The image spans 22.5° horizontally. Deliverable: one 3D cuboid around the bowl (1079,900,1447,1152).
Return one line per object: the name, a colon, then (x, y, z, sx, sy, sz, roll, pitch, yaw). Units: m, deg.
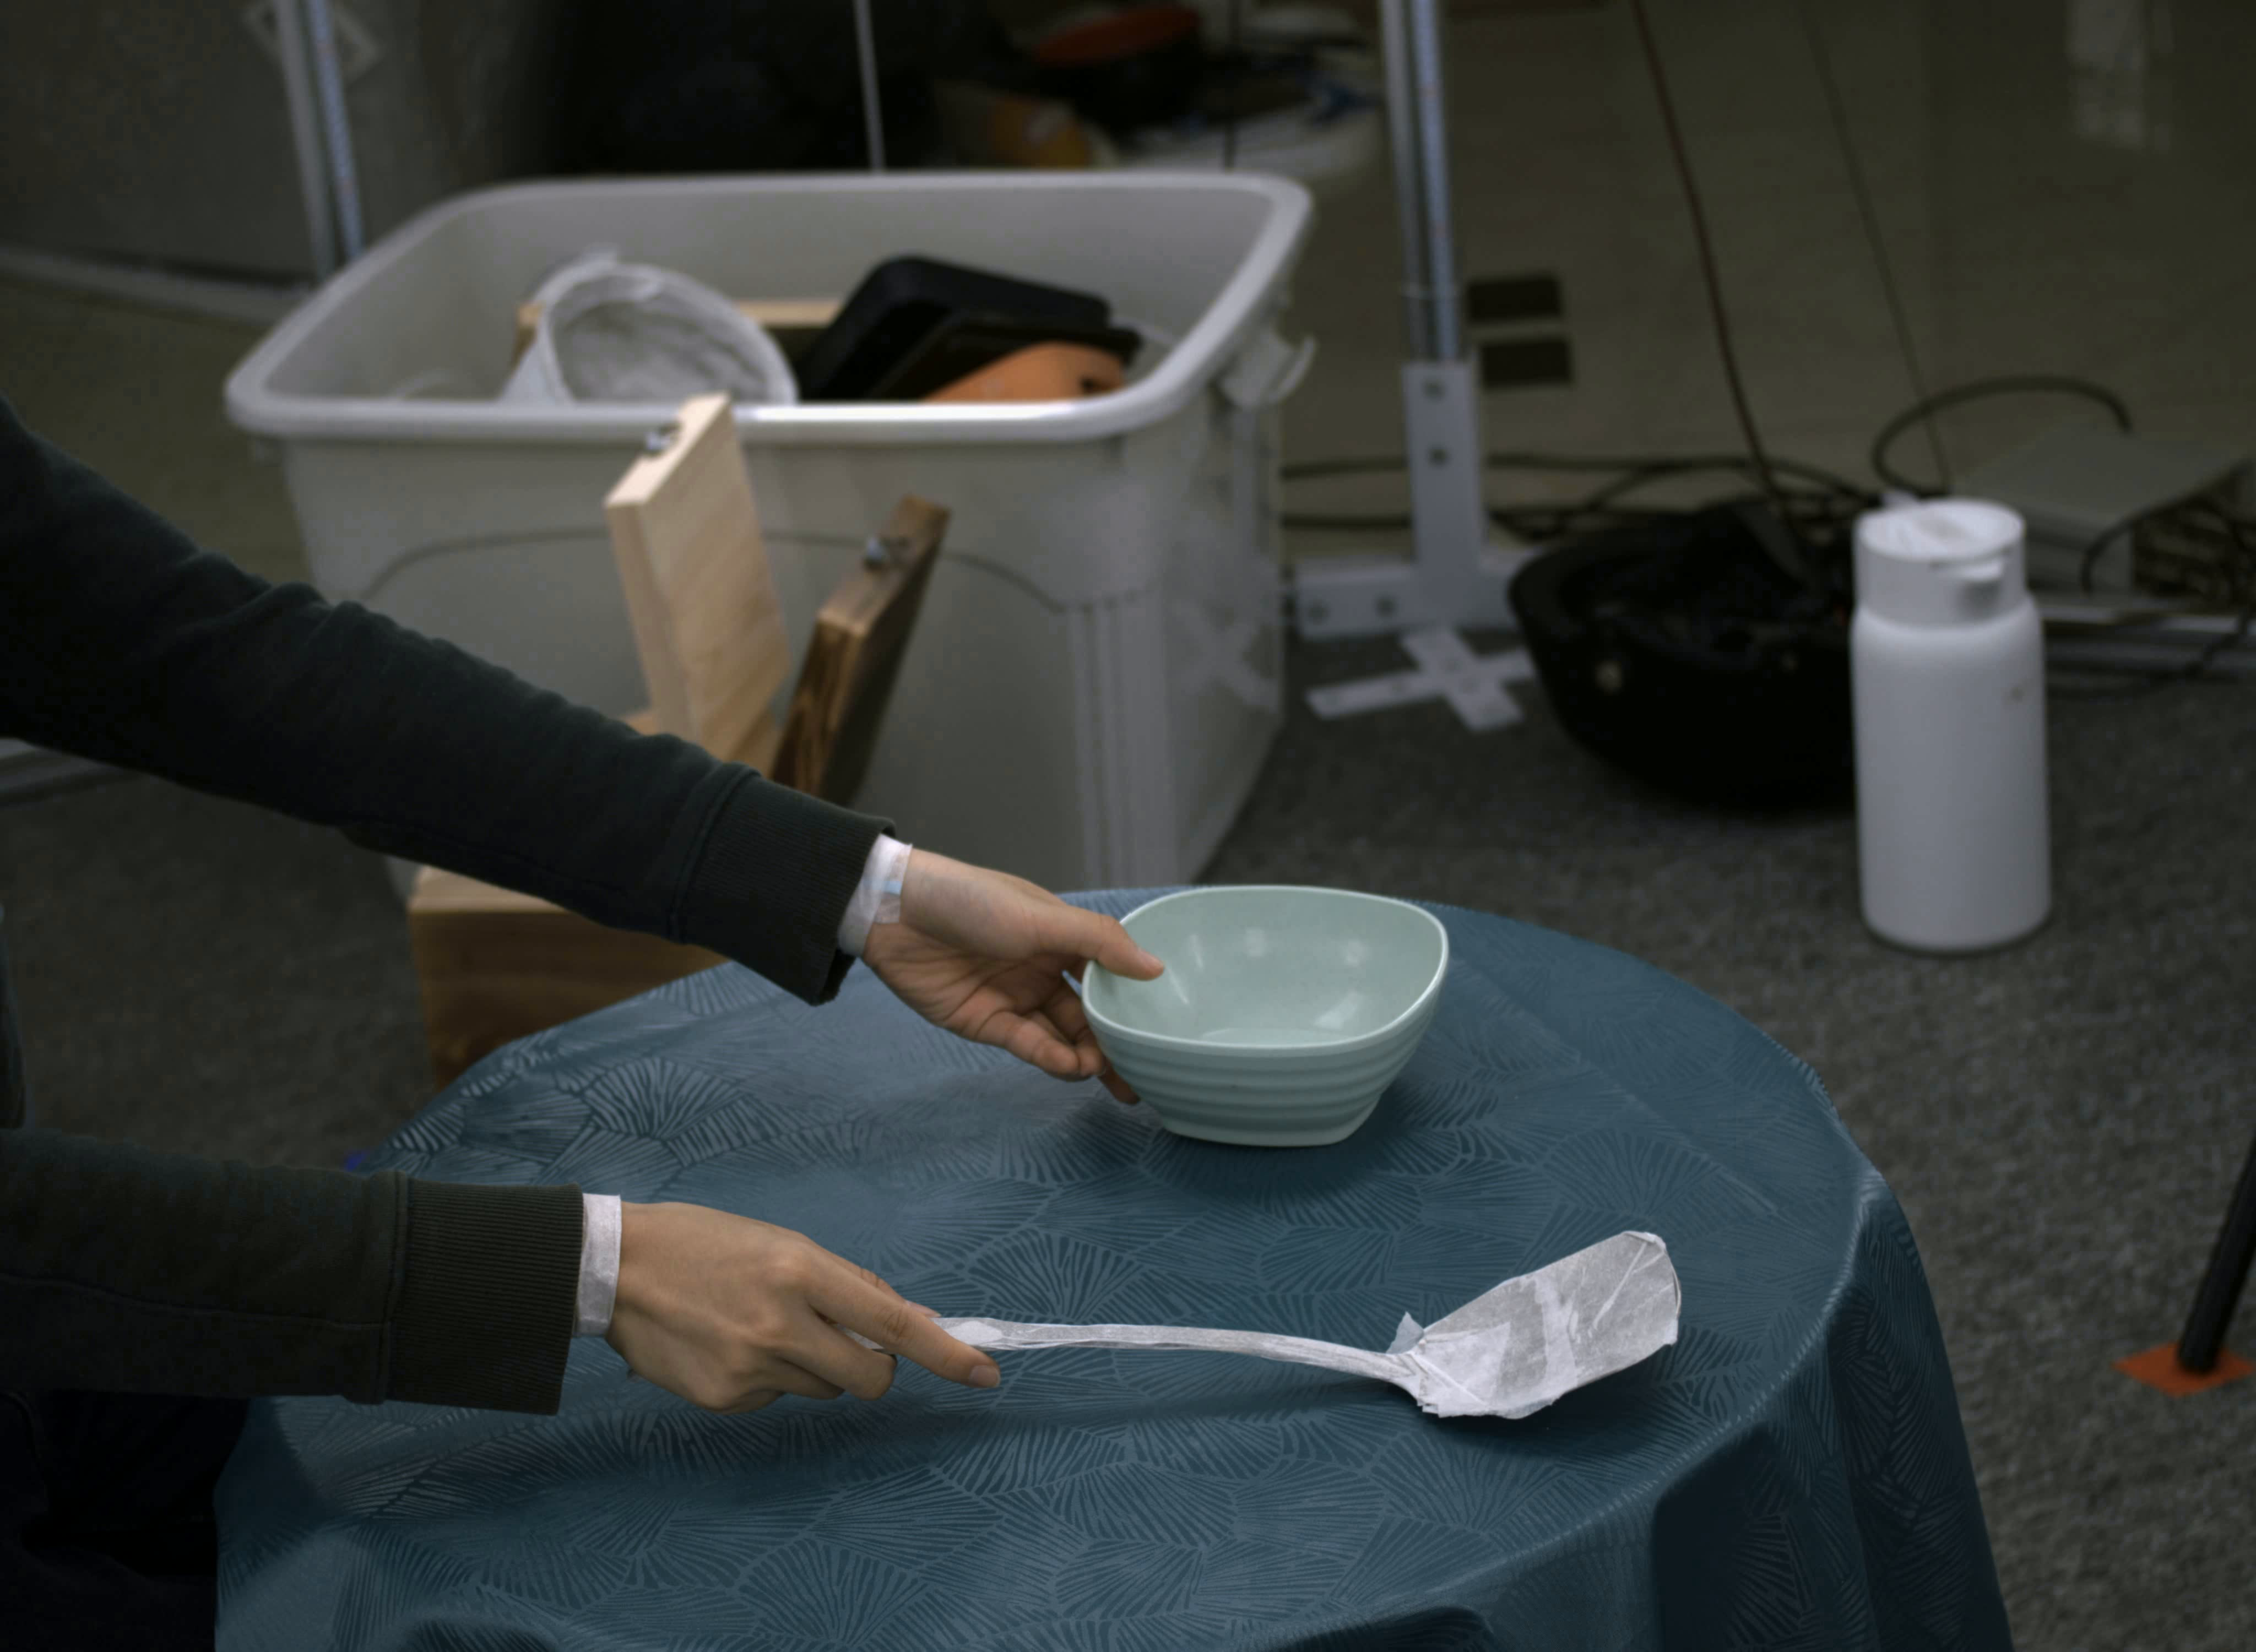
bowl: (0.053, 0.082, 2.193, 0.151, 0.059, 0.149, -2, 23, 1)

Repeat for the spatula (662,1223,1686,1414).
spatula: (0.013, 0.176, 2.002, 0.364, 0.045, 0.097, 1, 26, 3)
